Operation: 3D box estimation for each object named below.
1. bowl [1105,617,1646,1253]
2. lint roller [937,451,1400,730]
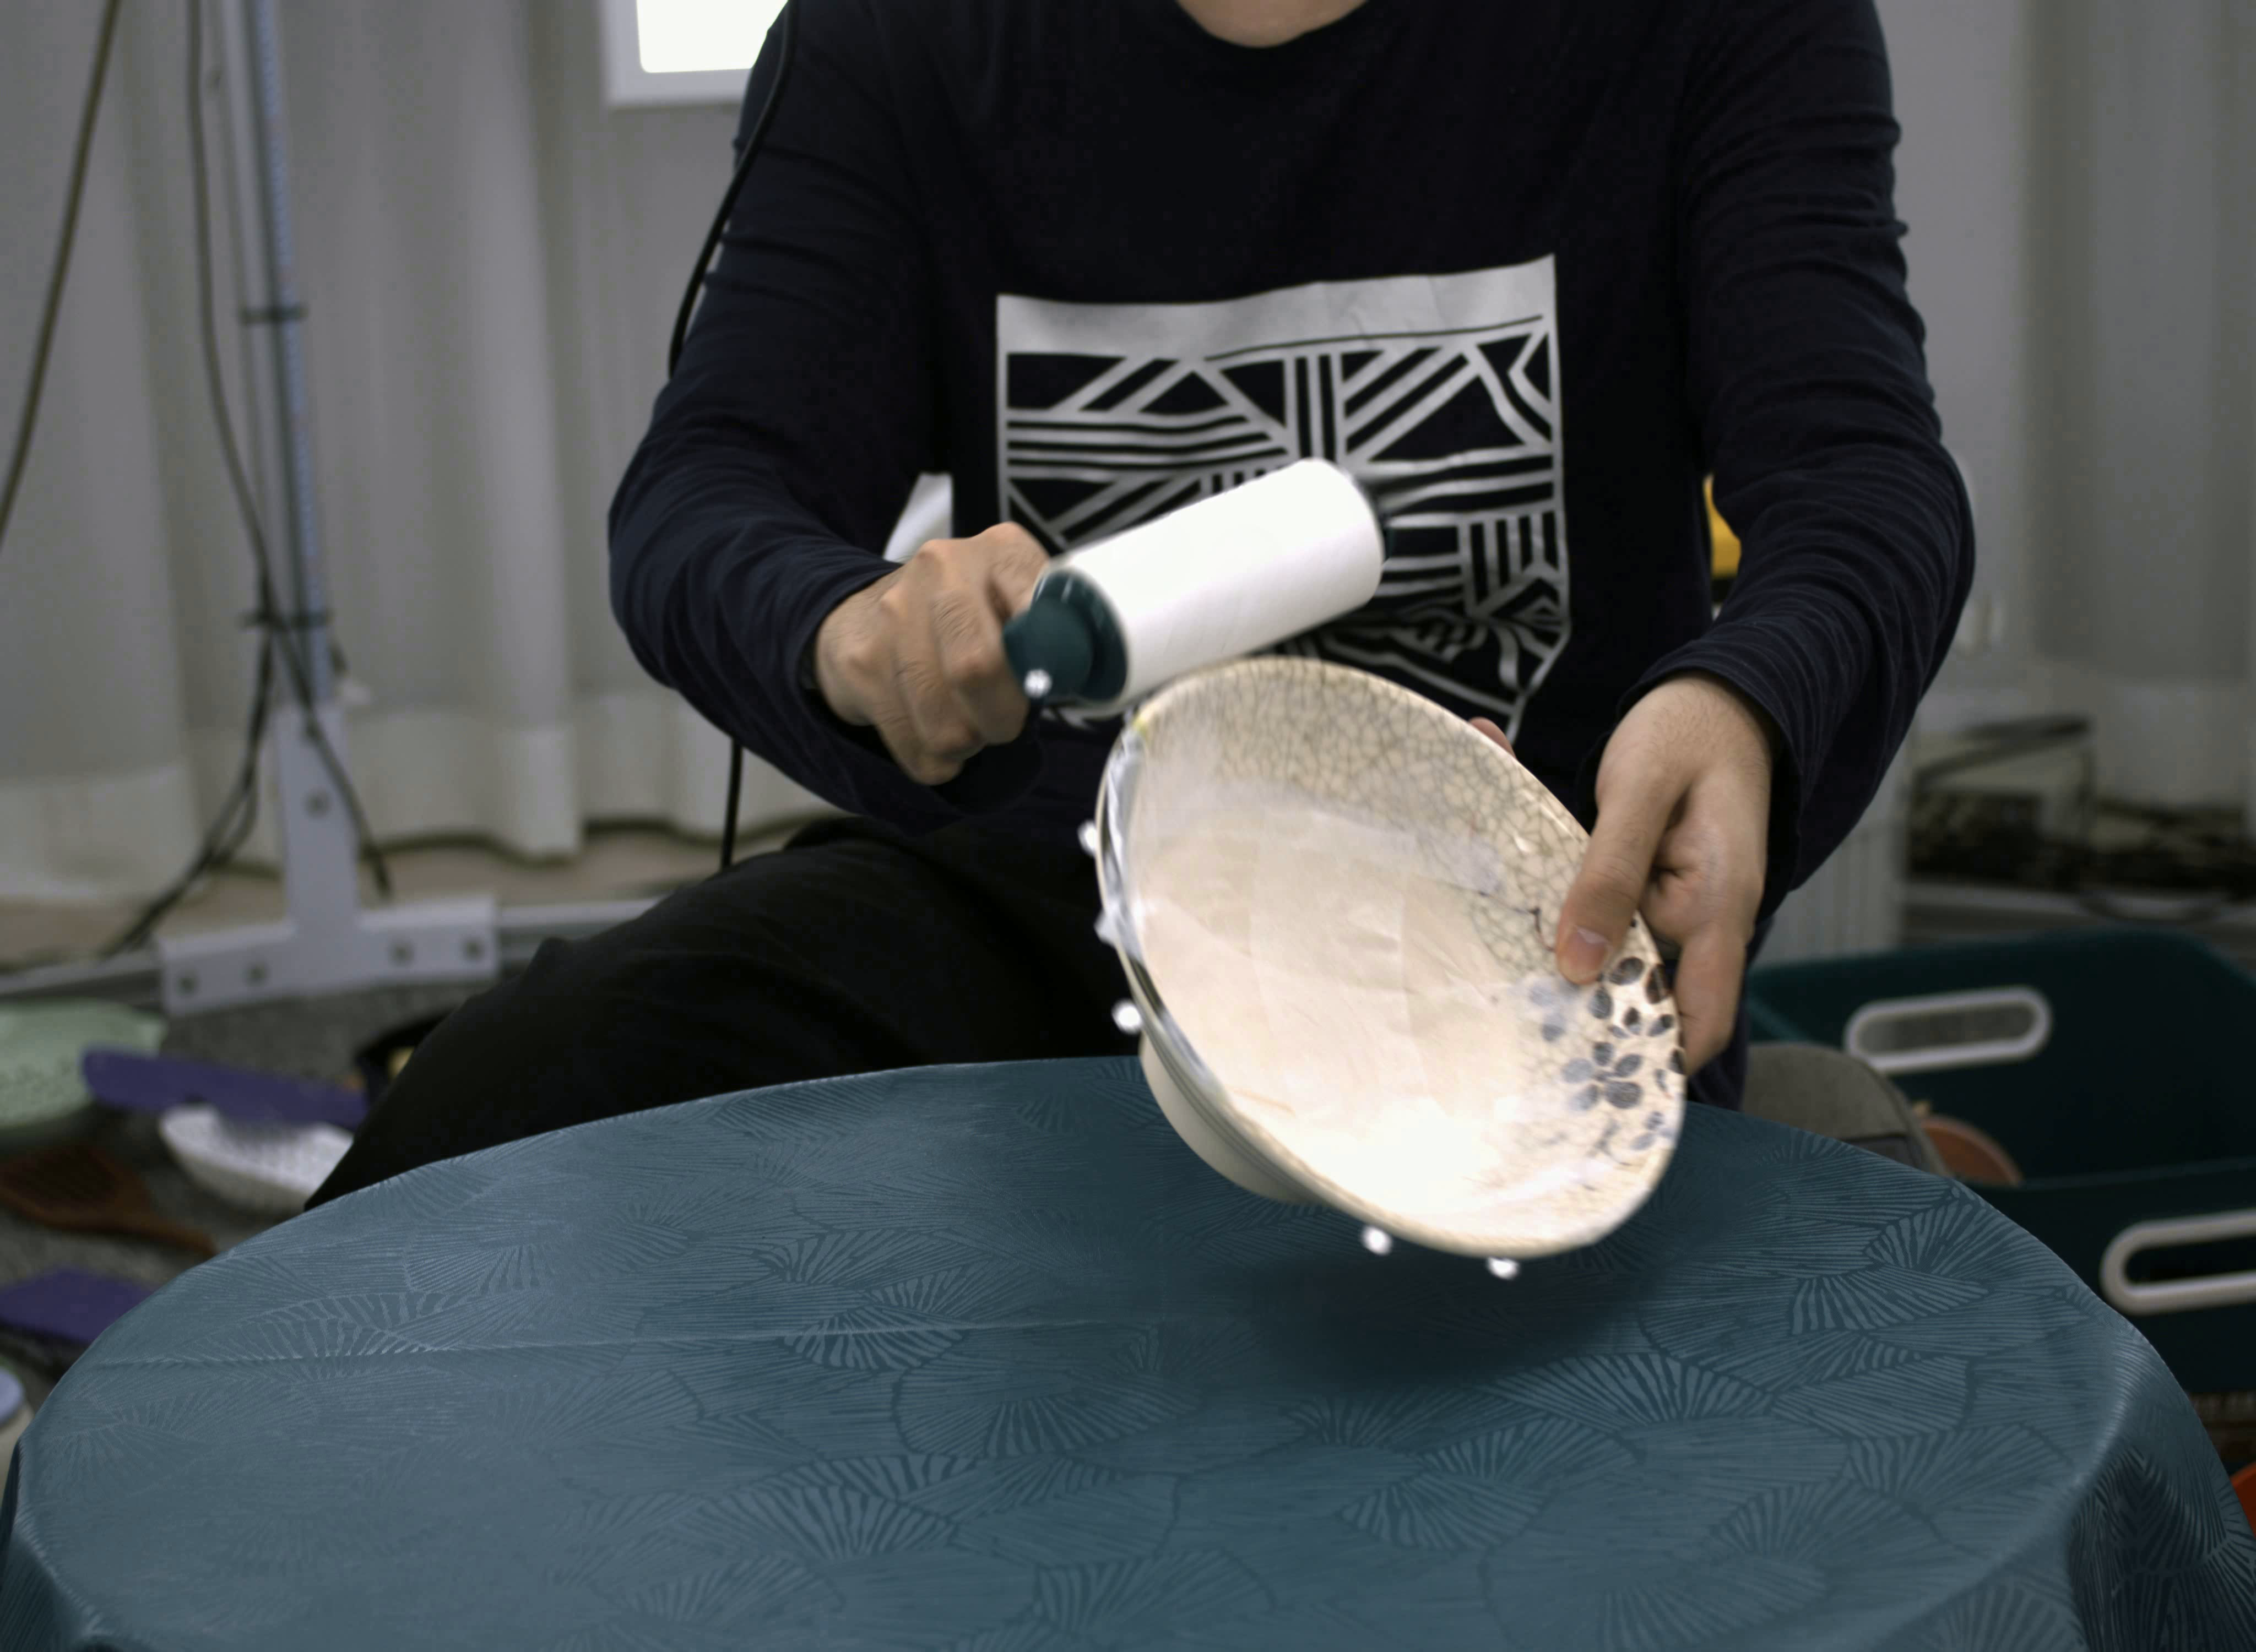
[{"bbox_3d":[0.052,0.046,1.601,0.204,0.205,0.077,-20,-14,-49],"label":"bowl"},{"bbox_3d":[-0.011,-0.067,1.674,0.134,0.048,0.180,-20,3,-35],"label":"lint roller"}]
